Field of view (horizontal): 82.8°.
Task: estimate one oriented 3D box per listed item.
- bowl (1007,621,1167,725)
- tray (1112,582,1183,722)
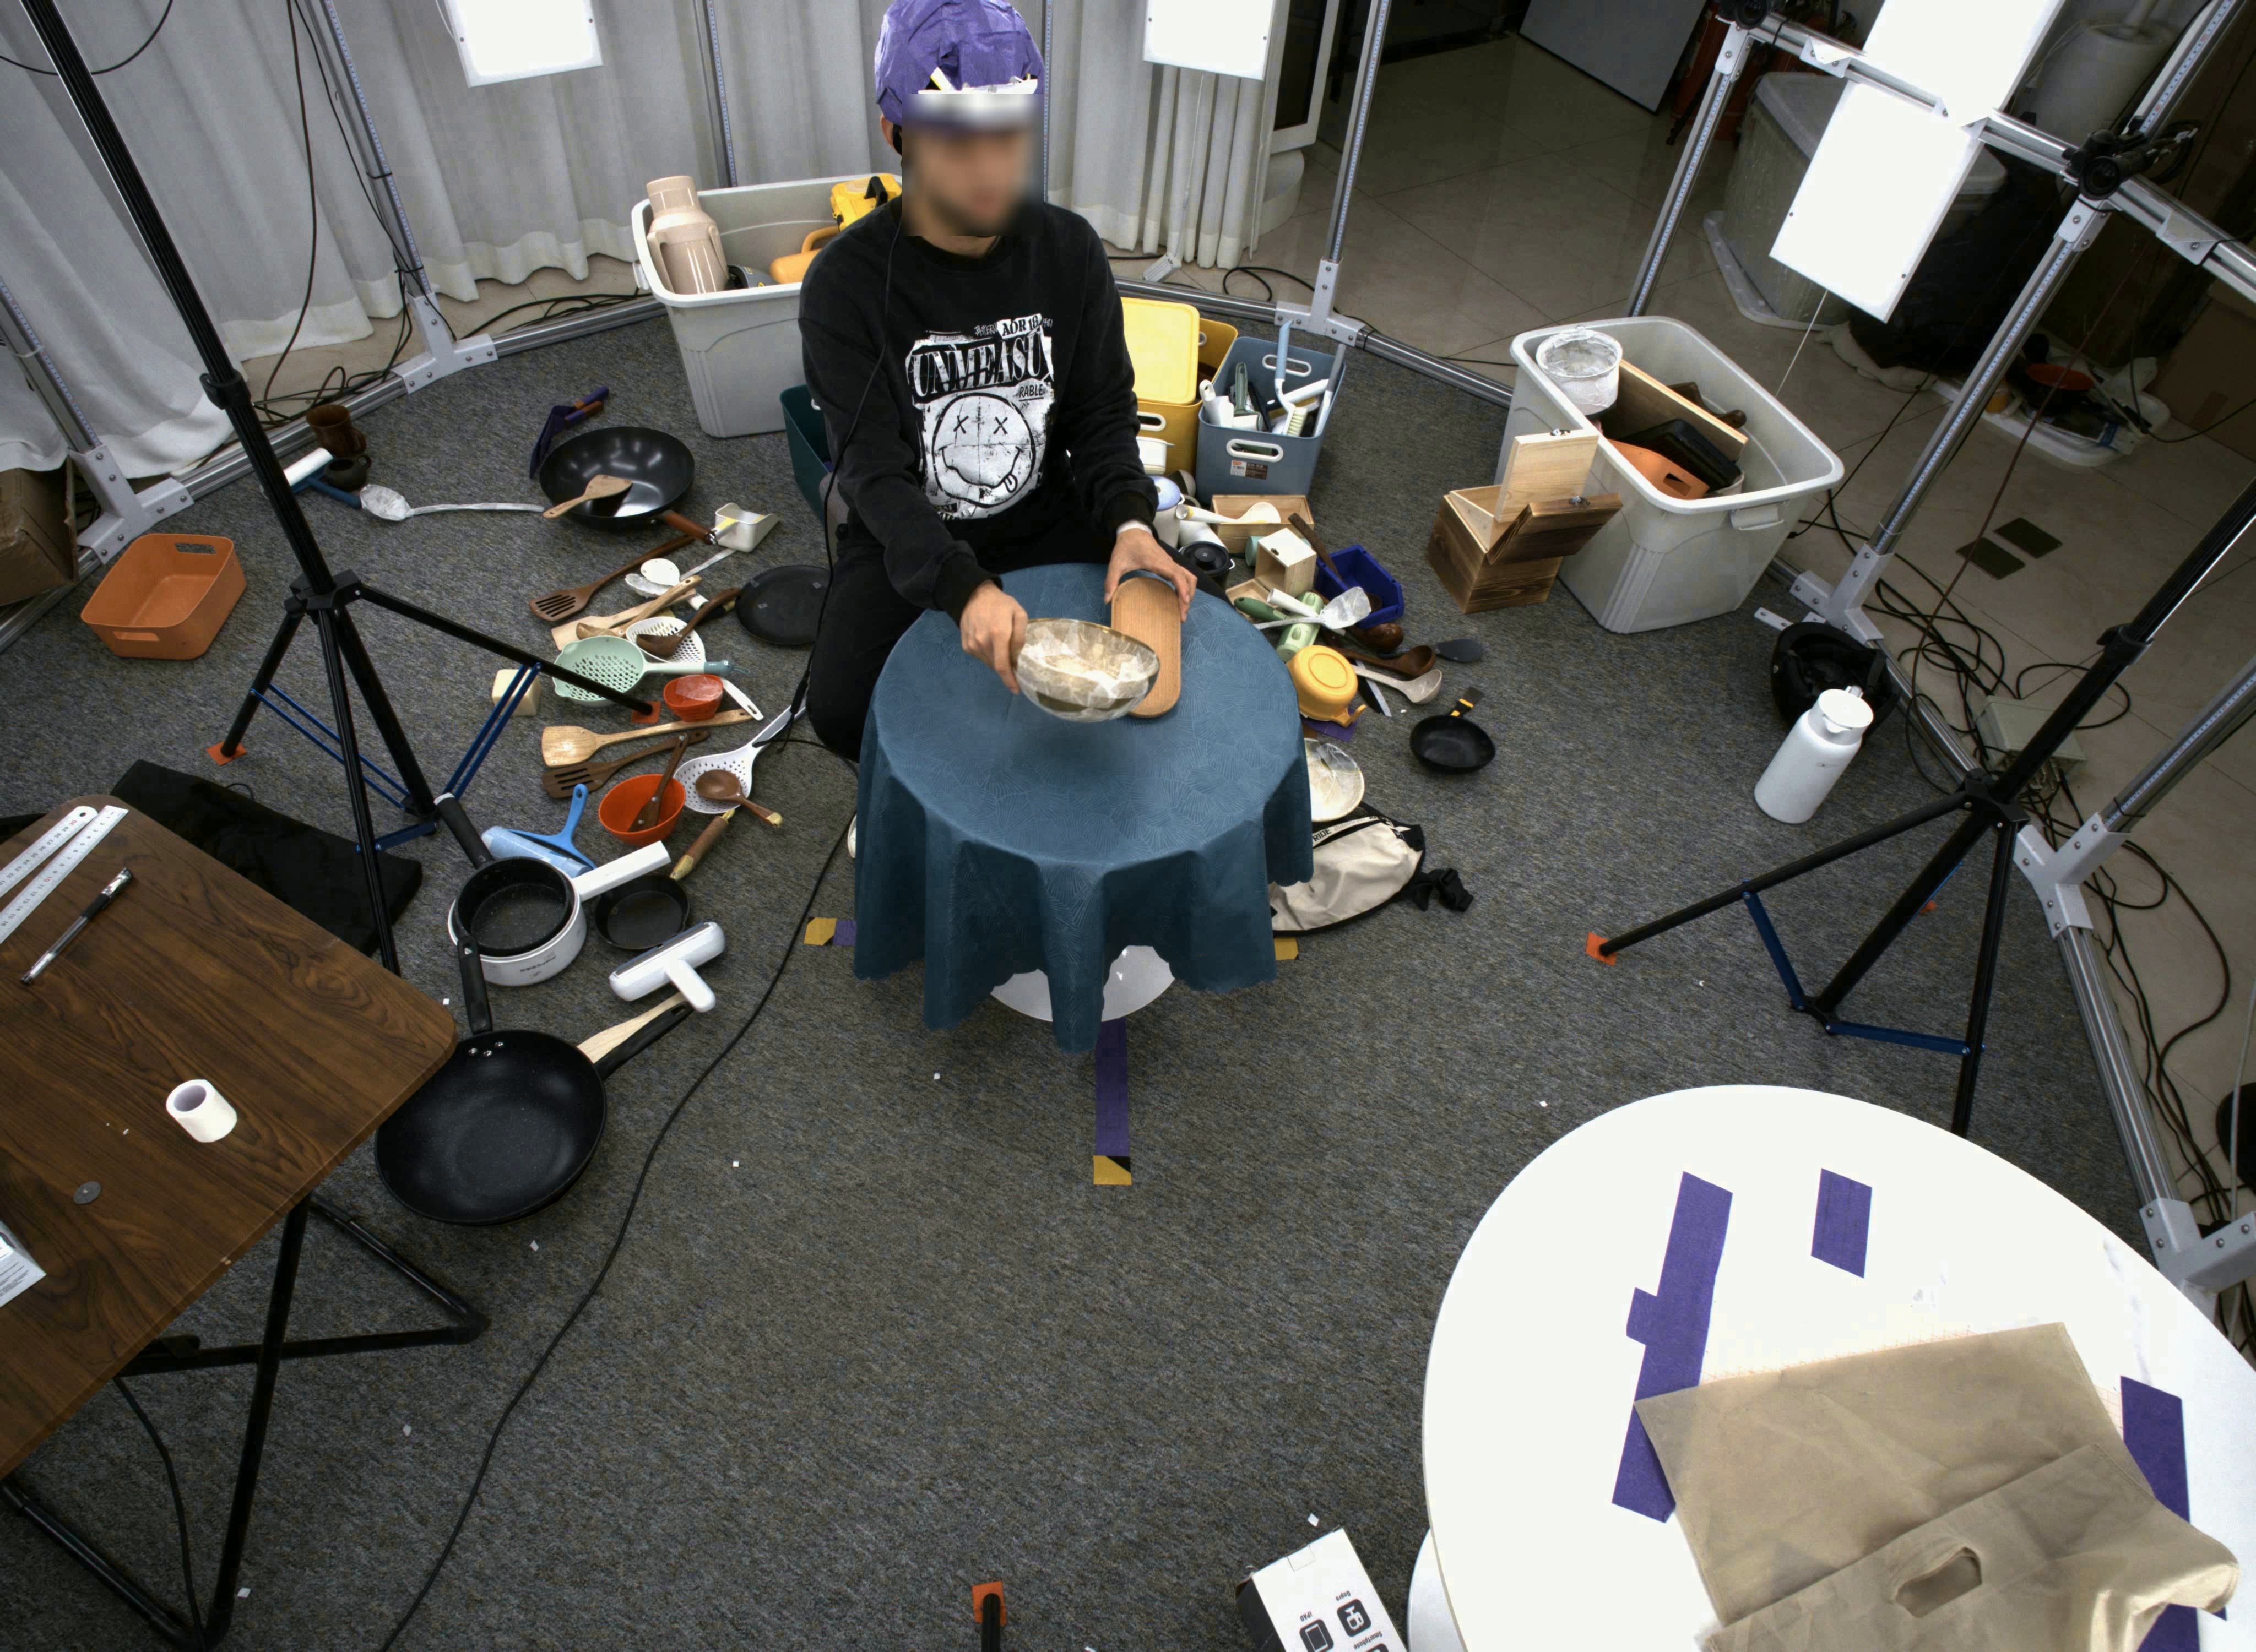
[{"bbox_3d":[-0.062,-0.192,1.691,0.214,0.093,0.219,9,27,-5],"label":"bowl"},{"bbox_3d":[0.028,-0.254,1.861,0.101,0.020,0.236,1,65,-3],"label":"tray"}]
